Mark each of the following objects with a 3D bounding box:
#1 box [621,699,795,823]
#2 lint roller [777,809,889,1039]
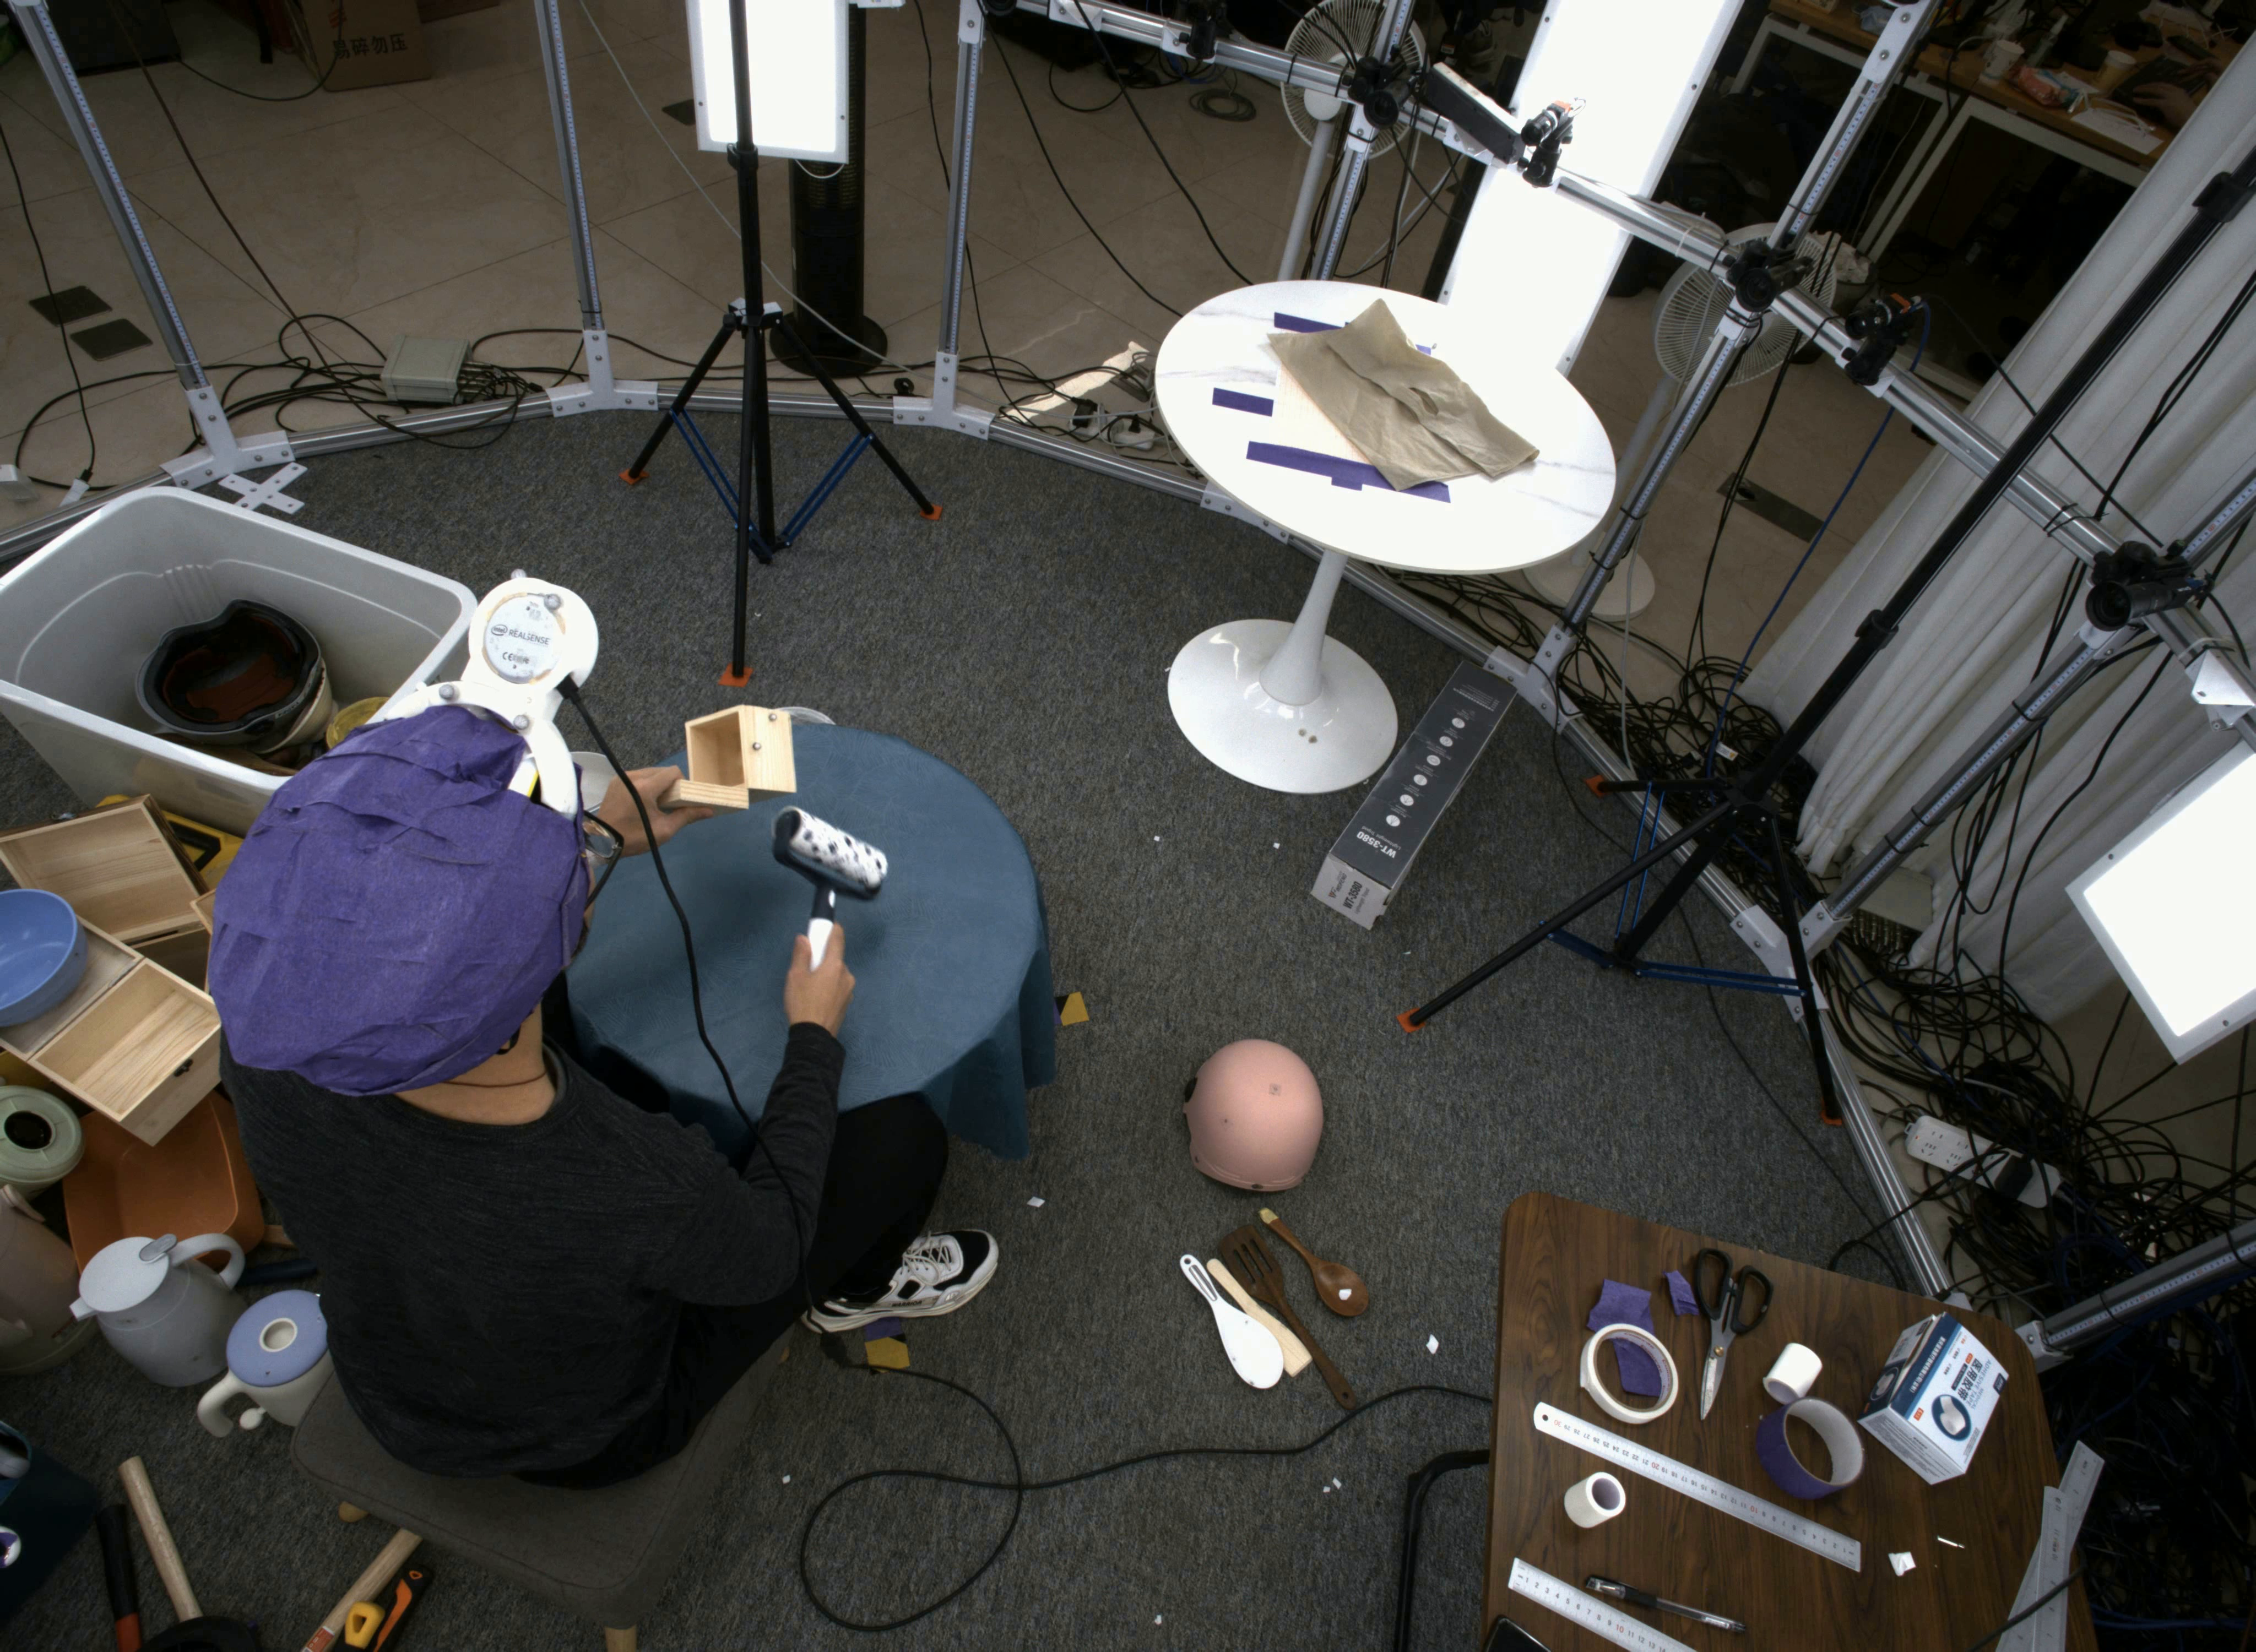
[{"bbox_3d":[-0.497,-0.081,1.513,0.188,0.100,0.134,6,74,-59],"label":"box"},{"bbox_3d":[-0.351,0.123,1.516,0.049,0.182,0.245,-10,66,23],"label":"lint roller"}]
